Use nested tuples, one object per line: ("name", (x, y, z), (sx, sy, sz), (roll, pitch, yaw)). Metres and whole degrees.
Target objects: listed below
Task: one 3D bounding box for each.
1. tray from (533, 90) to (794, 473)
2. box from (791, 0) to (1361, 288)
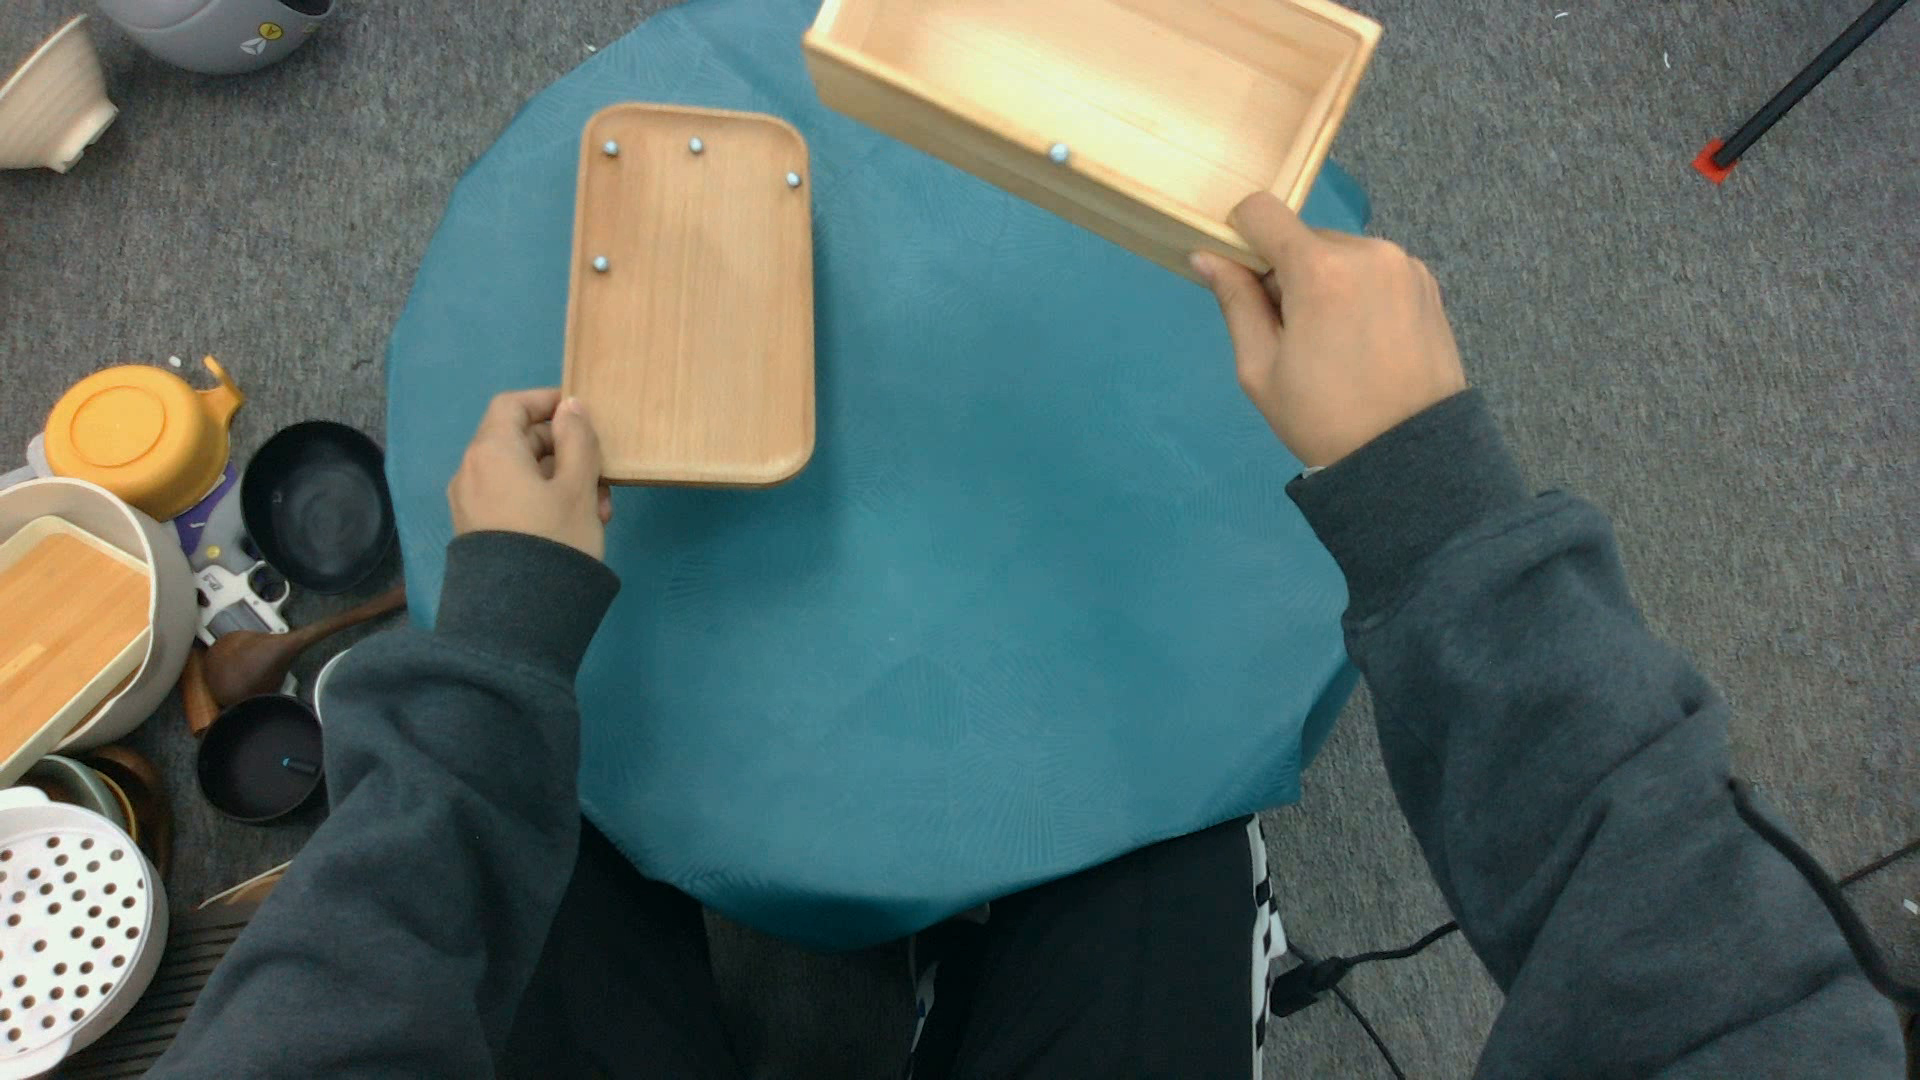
("tray", (-0.158, -0.144, 0.742), (0.130, 0.023, 0.251), (0, 62, -9))
("box", (0.047, -0.211, 0.598), (0.211, 0.080, 0.107), (27, 88, -2))
